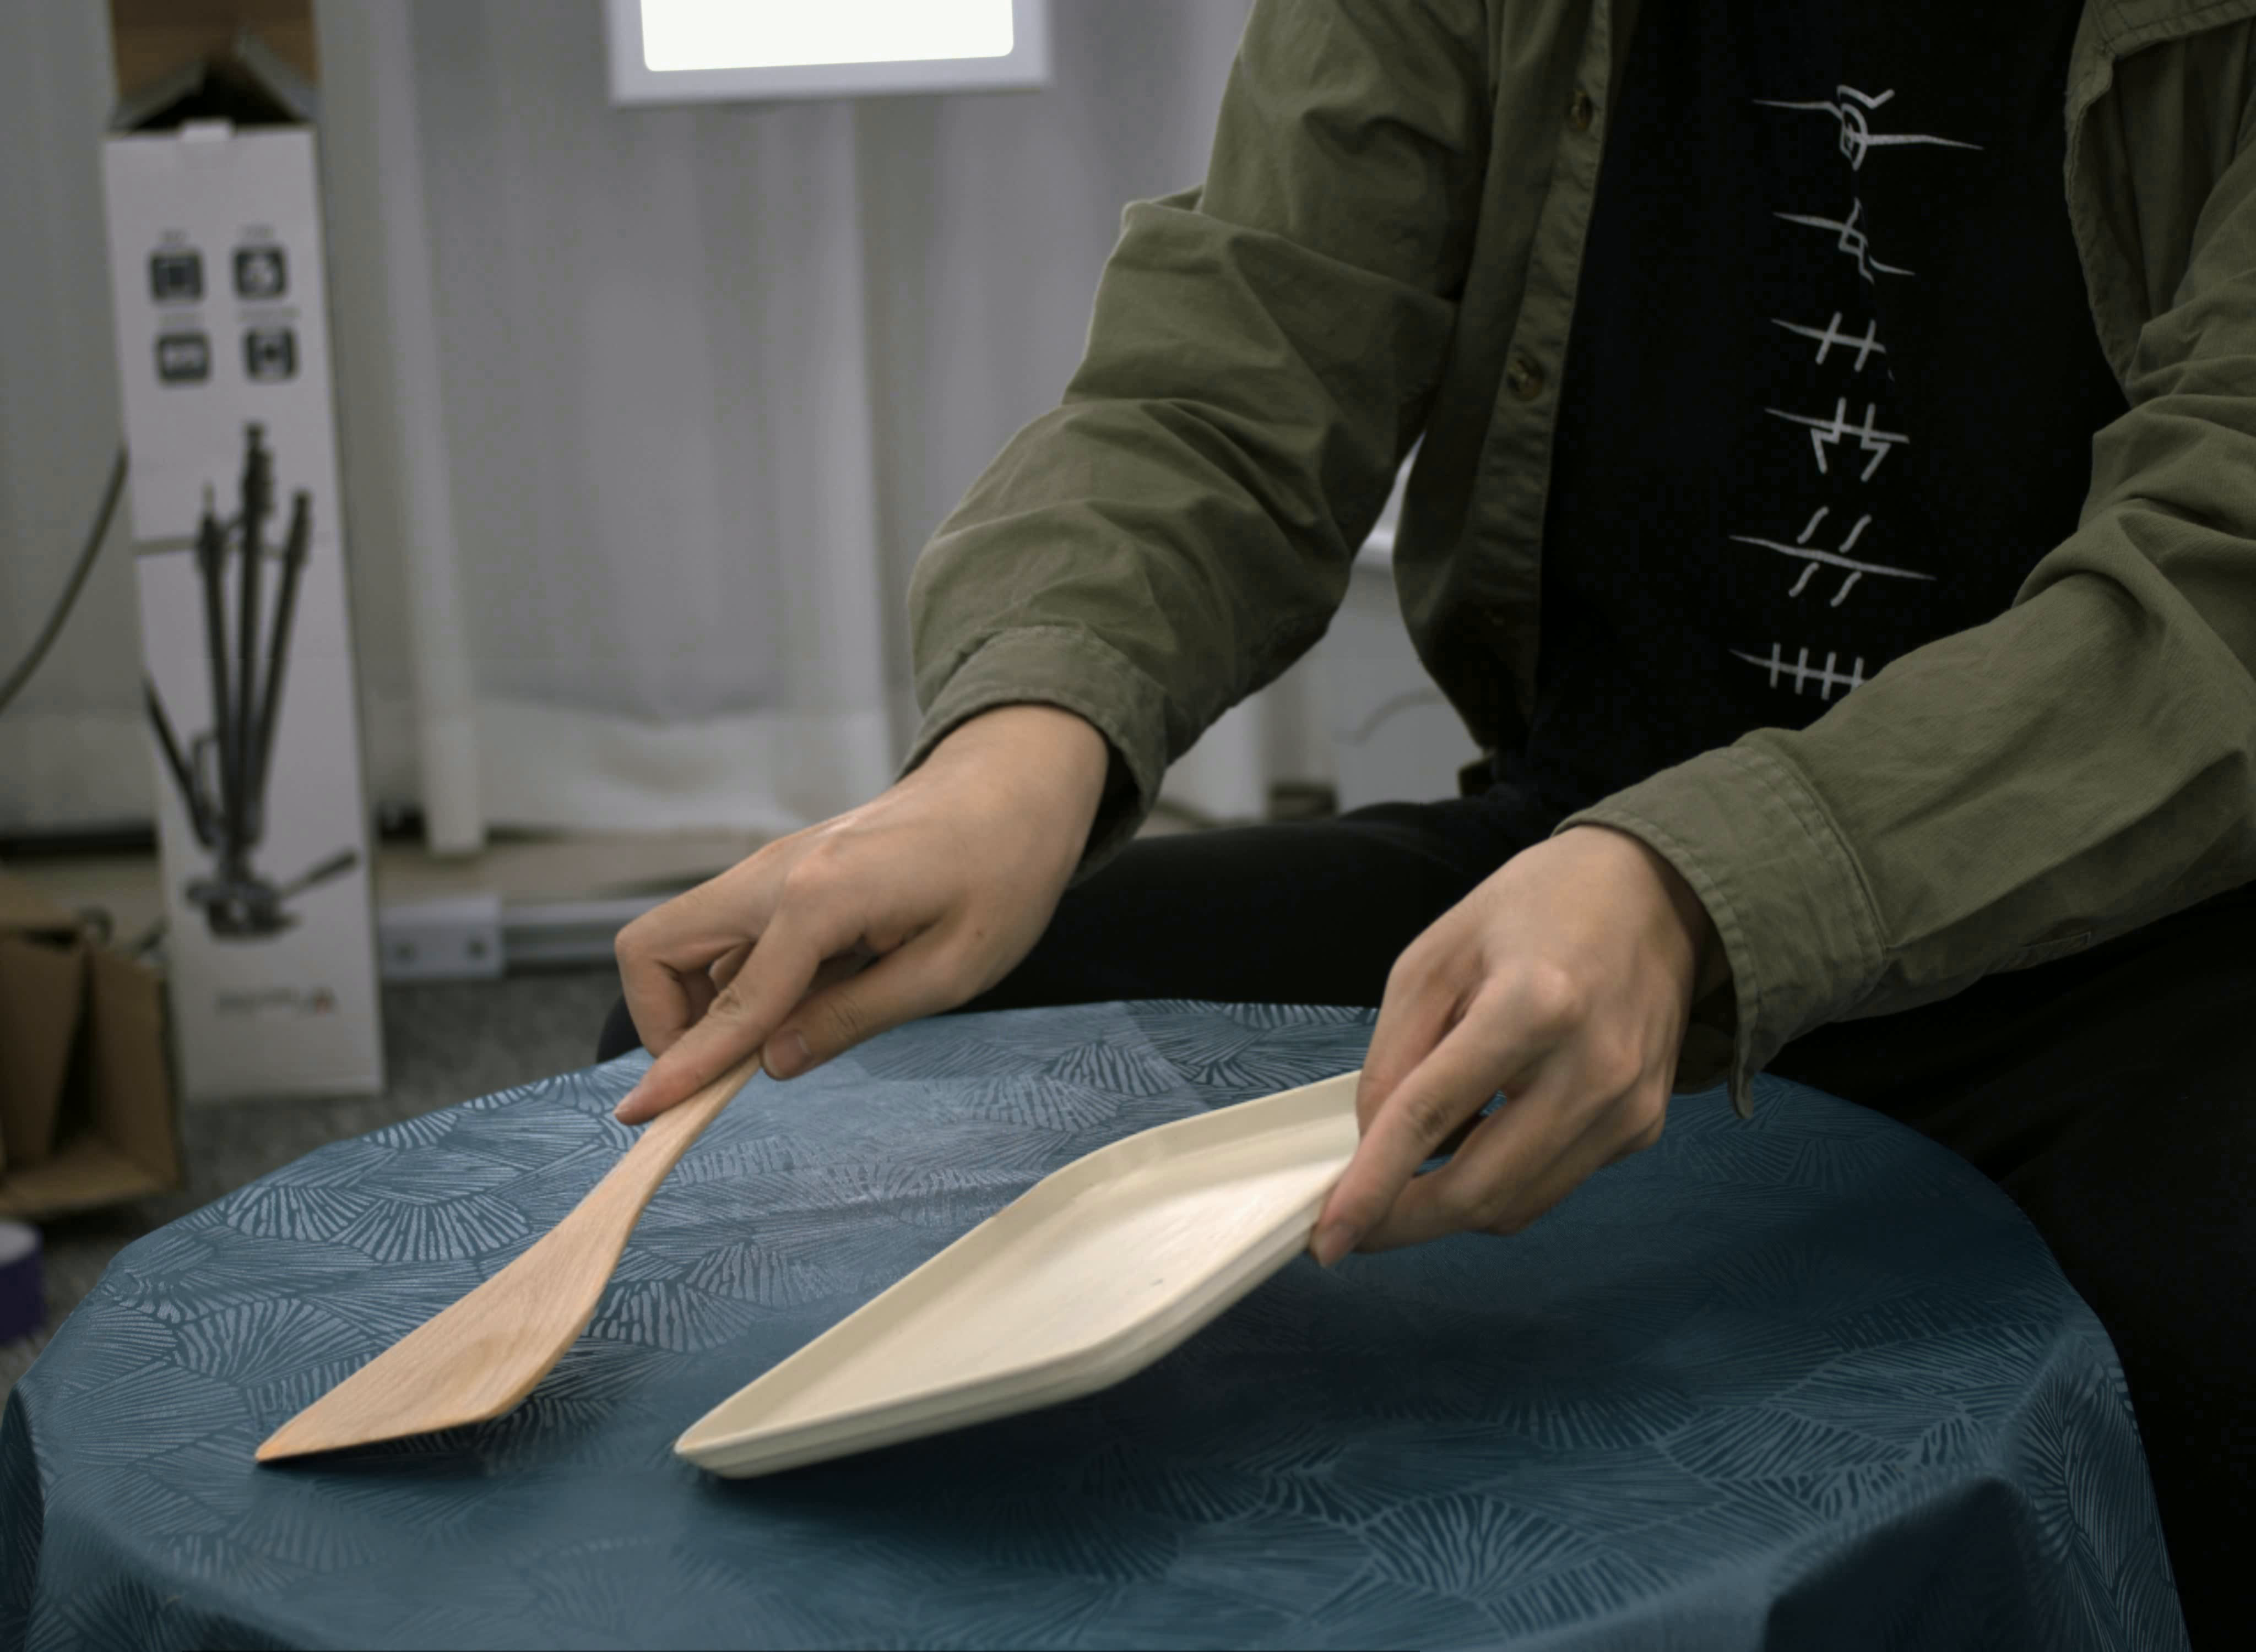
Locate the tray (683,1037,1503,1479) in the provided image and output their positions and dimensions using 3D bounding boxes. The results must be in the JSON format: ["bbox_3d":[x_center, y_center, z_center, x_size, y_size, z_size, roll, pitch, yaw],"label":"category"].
[{"bbox_3d":[-0.005,0.122,1.535,0.171,0.017,0.240,-18,8,36],"label":"tray"}]

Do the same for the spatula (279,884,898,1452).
[{"bbox_3d":[-0.144,0.096,1.641,0.080,0.016,0.330,-10,24,30],"label":"spatula"}]
